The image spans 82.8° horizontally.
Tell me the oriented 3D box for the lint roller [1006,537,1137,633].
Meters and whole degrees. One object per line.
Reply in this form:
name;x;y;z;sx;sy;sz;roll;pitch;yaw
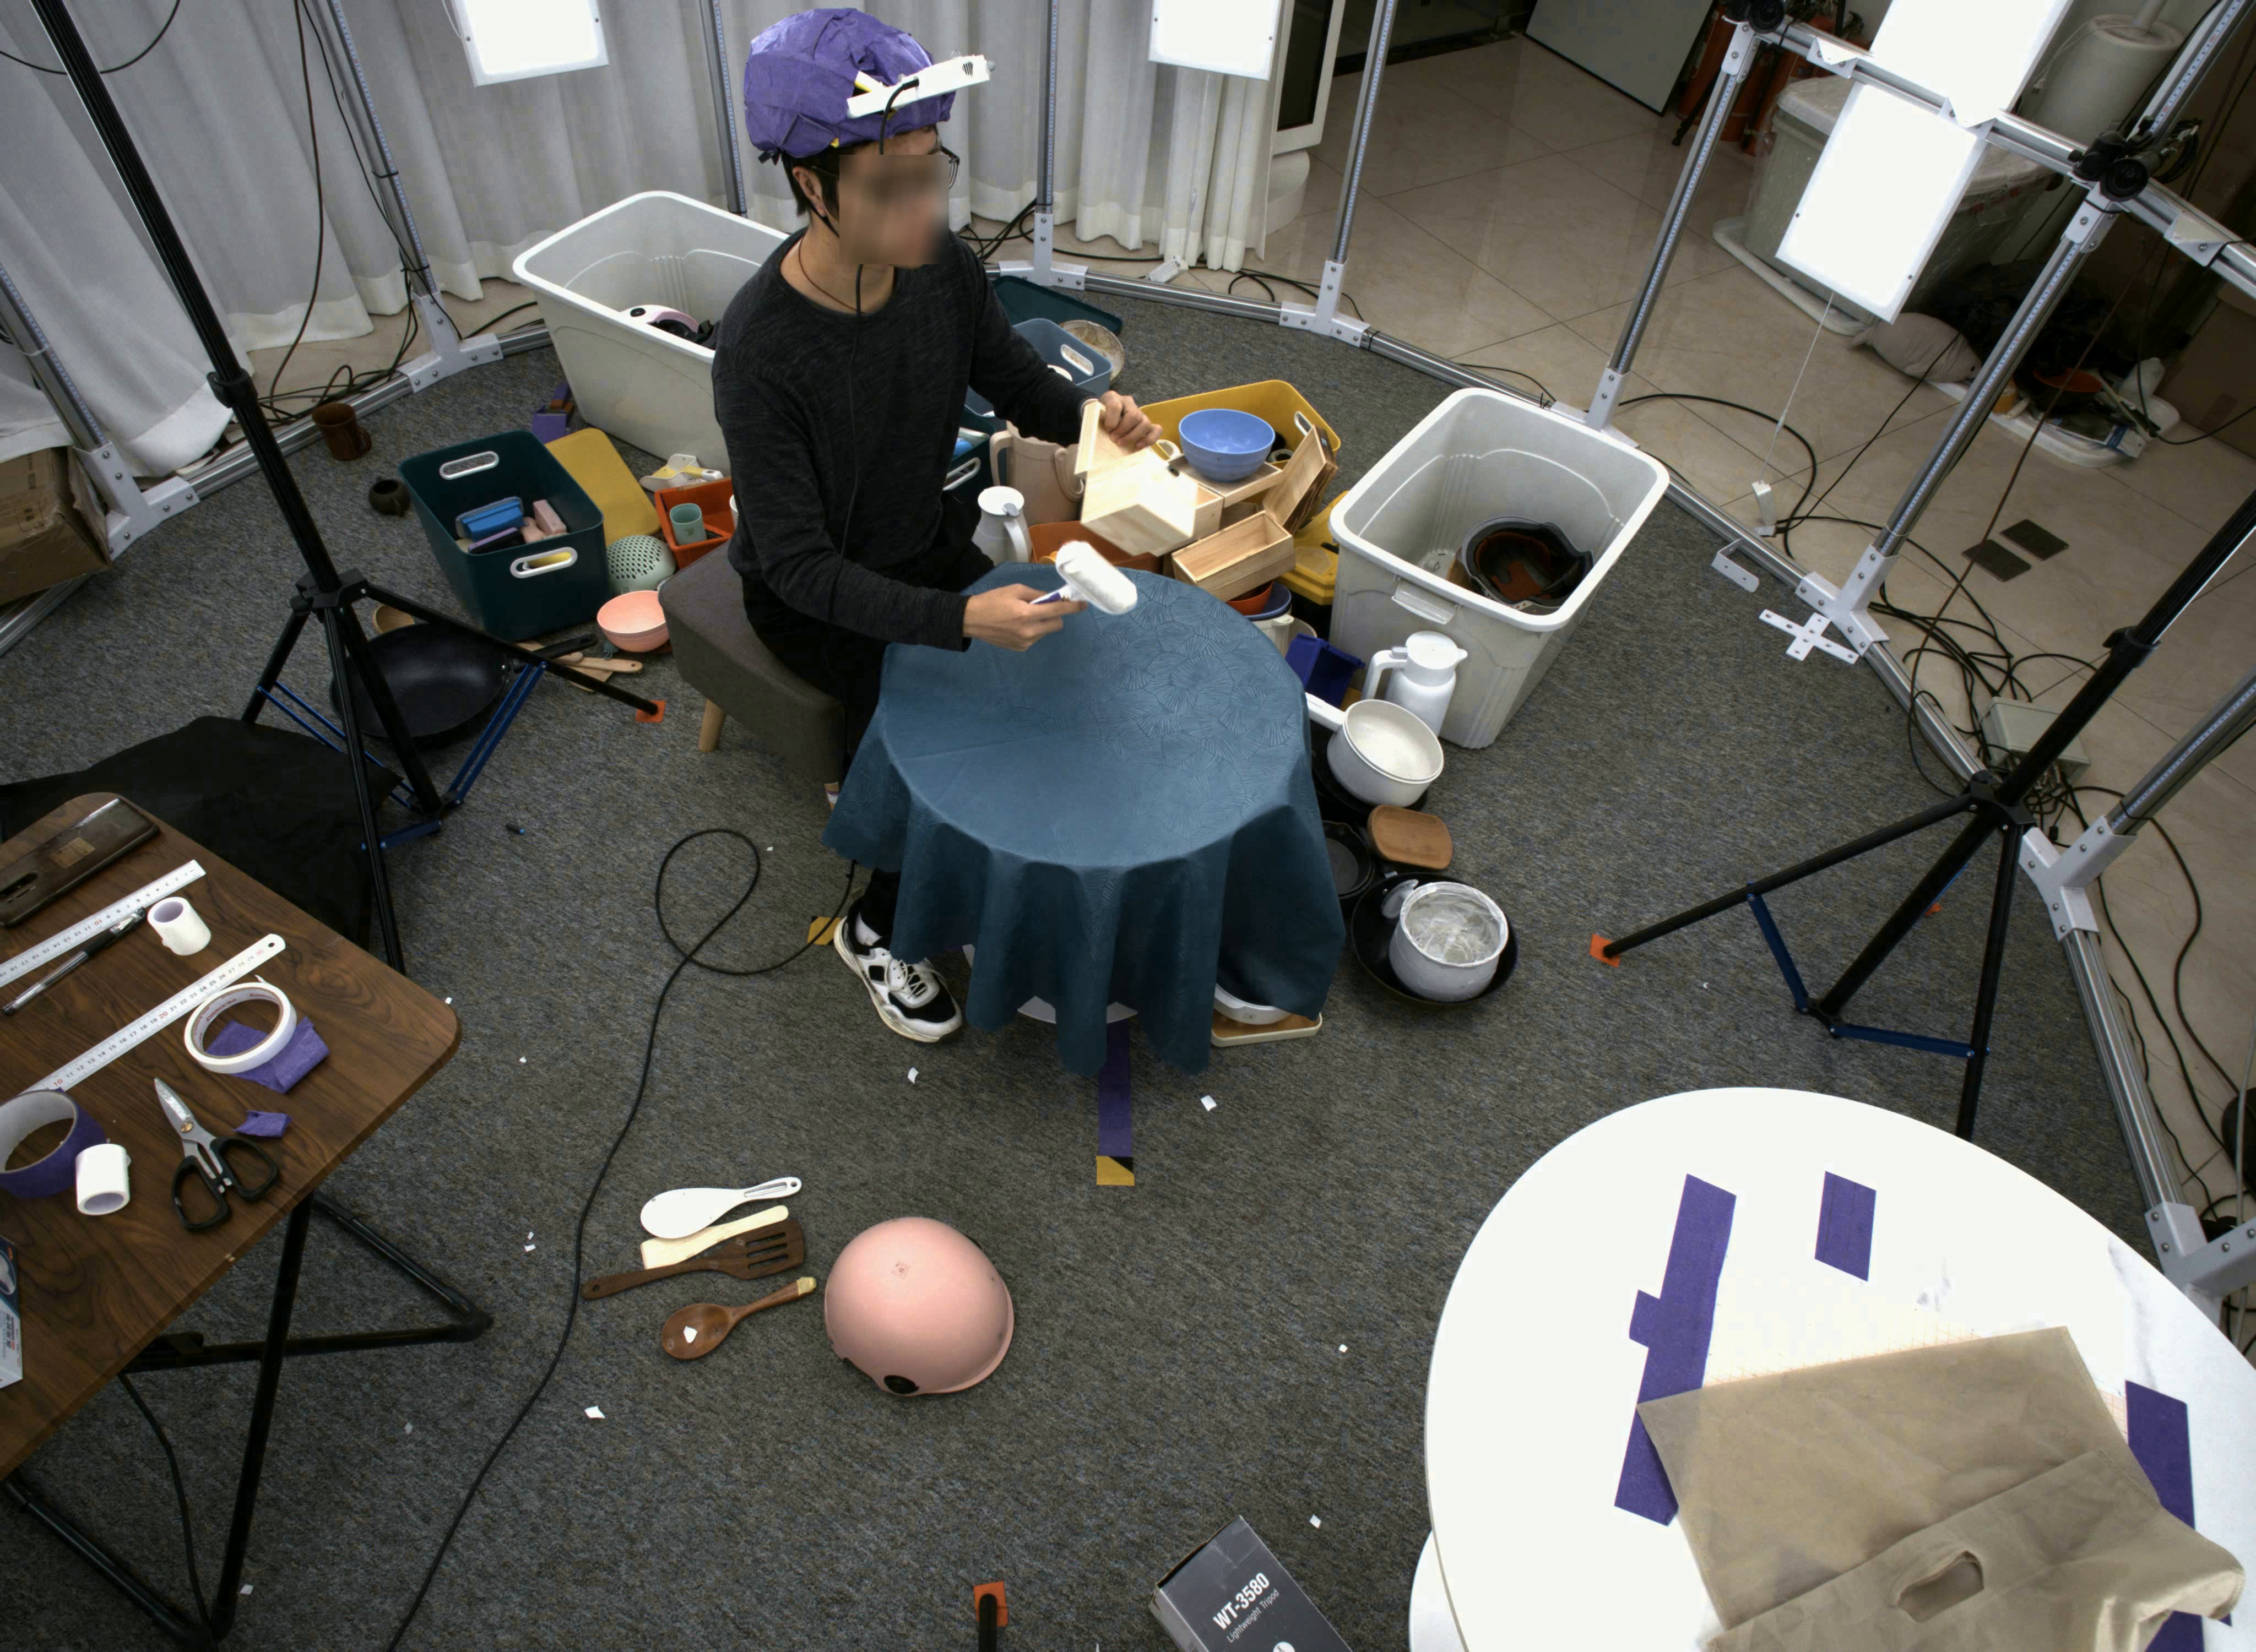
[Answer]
lint roller;-0.090;-0.296;1.689;0.179;0.130;0.051;-32;48;22

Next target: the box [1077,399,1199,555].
box;0.016;-0.460;1.653;0.134;0.101;0.187;-11;65;42
